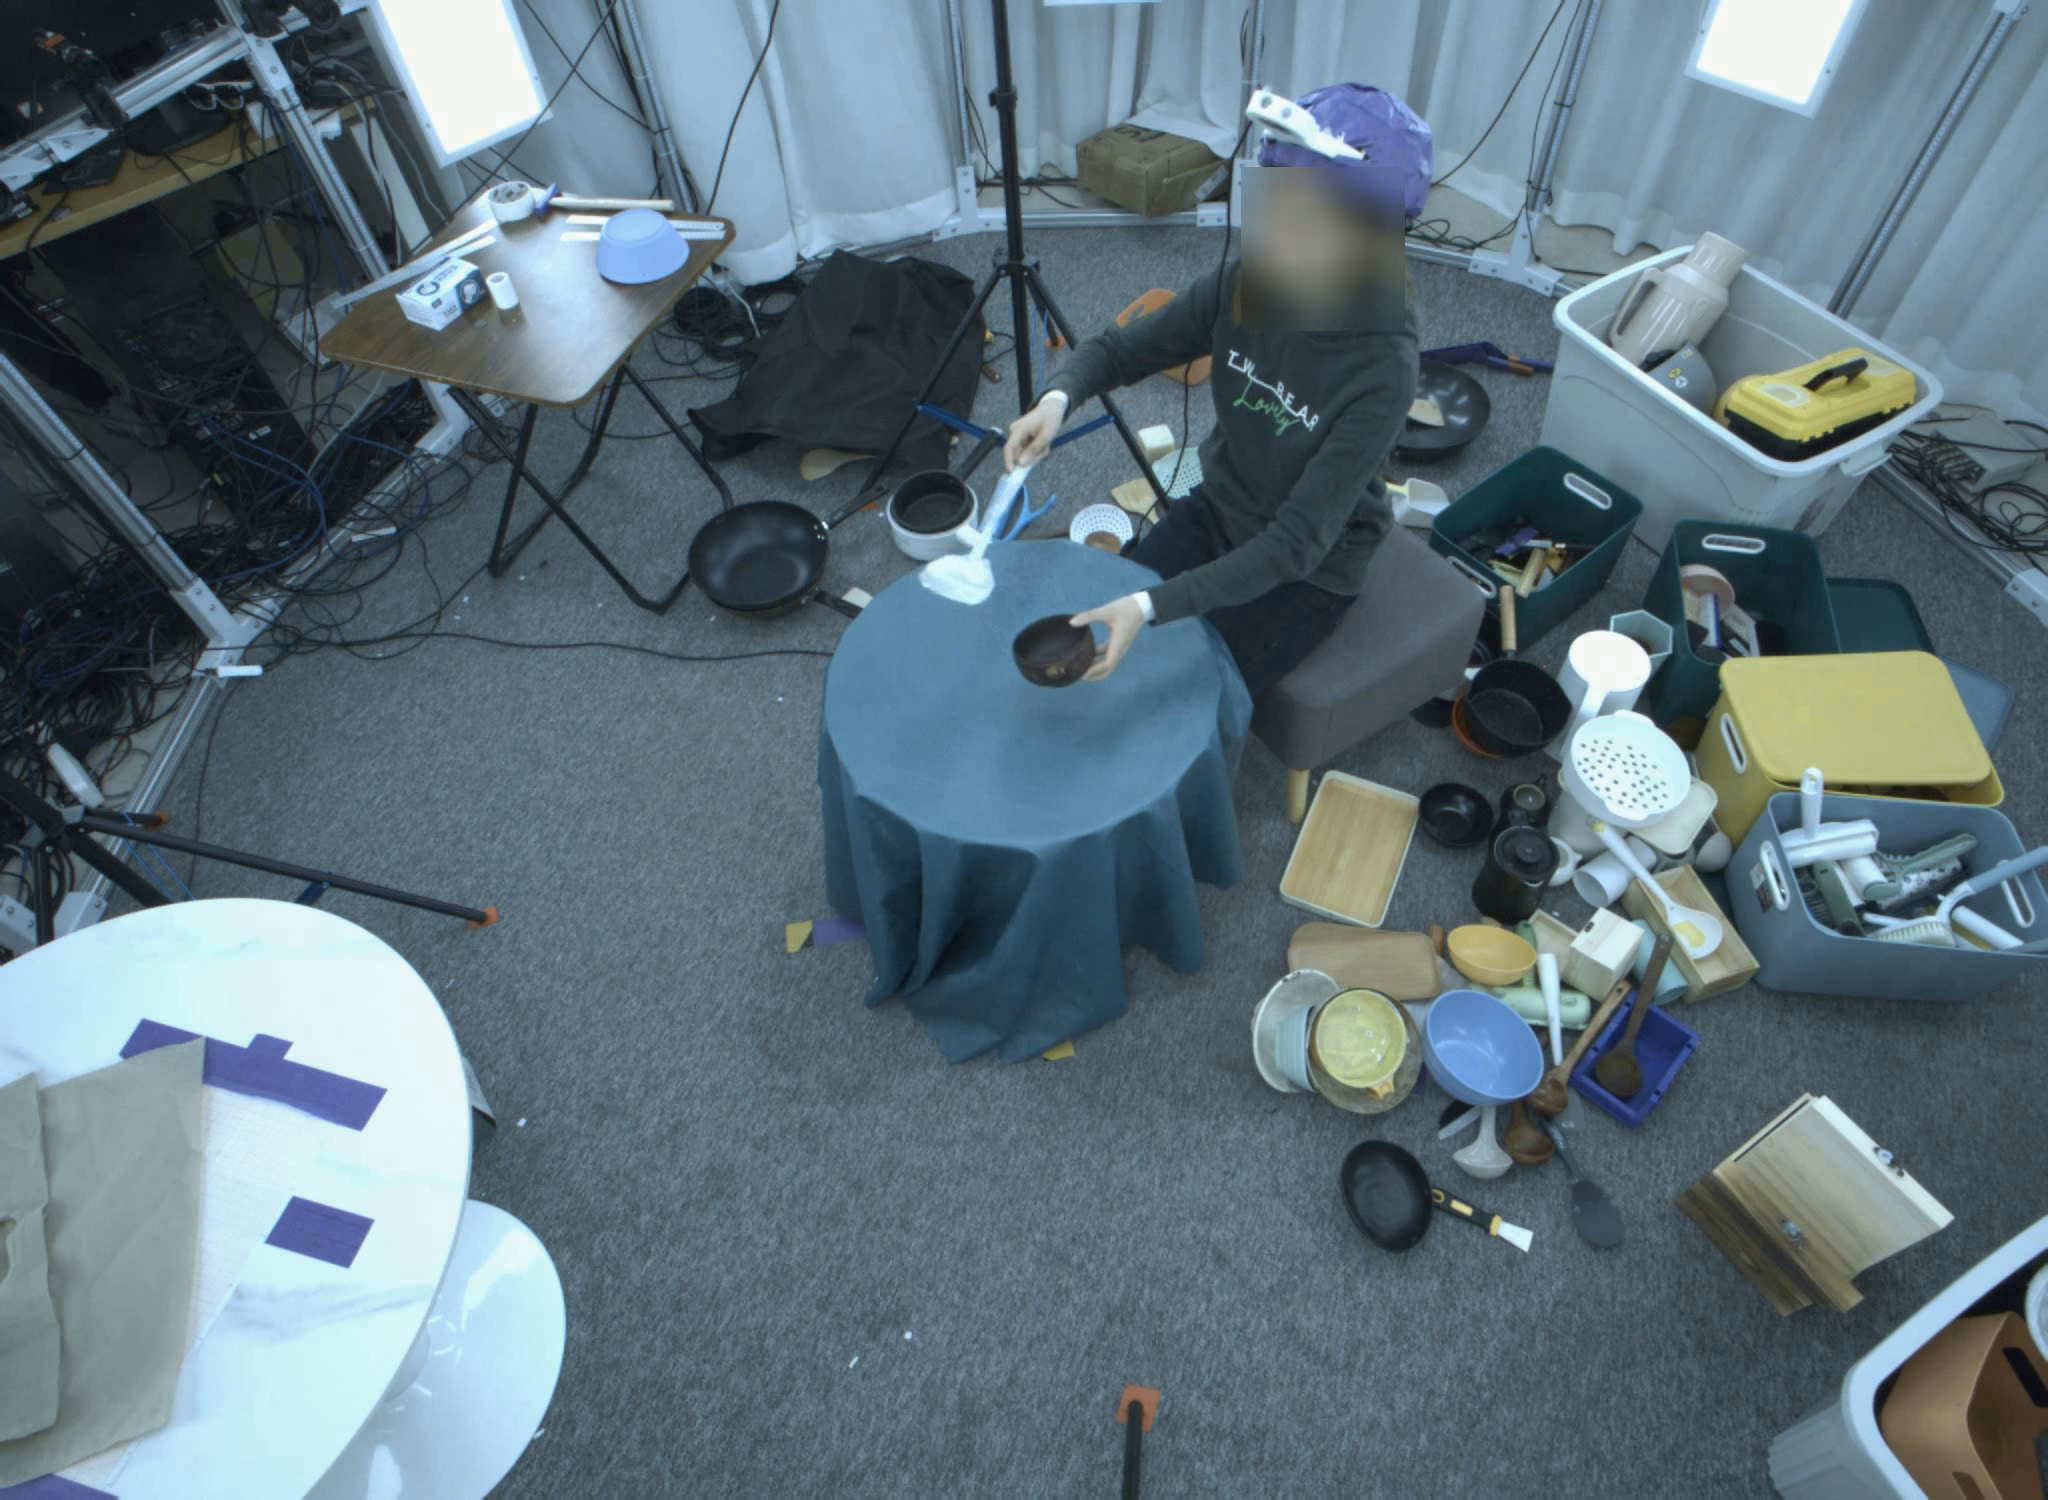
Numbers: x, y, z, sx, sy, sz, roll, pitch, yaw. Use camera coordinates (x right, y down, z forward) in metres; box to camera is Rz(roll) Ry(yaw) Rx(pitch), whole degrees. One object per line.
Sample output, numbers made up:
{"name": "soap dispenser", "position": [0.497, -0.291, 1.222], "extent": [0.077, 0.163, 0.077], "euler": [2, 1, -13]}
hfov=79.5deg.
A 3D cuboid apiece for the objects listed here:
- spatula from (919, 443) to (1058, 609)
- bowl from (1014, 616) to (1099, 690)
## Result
{"name": "spatula", "position": [-0.034, -0.338, 1.764], "extent": [0.098, 0.045, 0.365], "euler": [24, 64, 7]}
{"name": "bowl", "position": [0.050, -0.128, 1.739], "extent": [0.117, 0.071, 0.117], "euler": [-11, 39, 10]}
